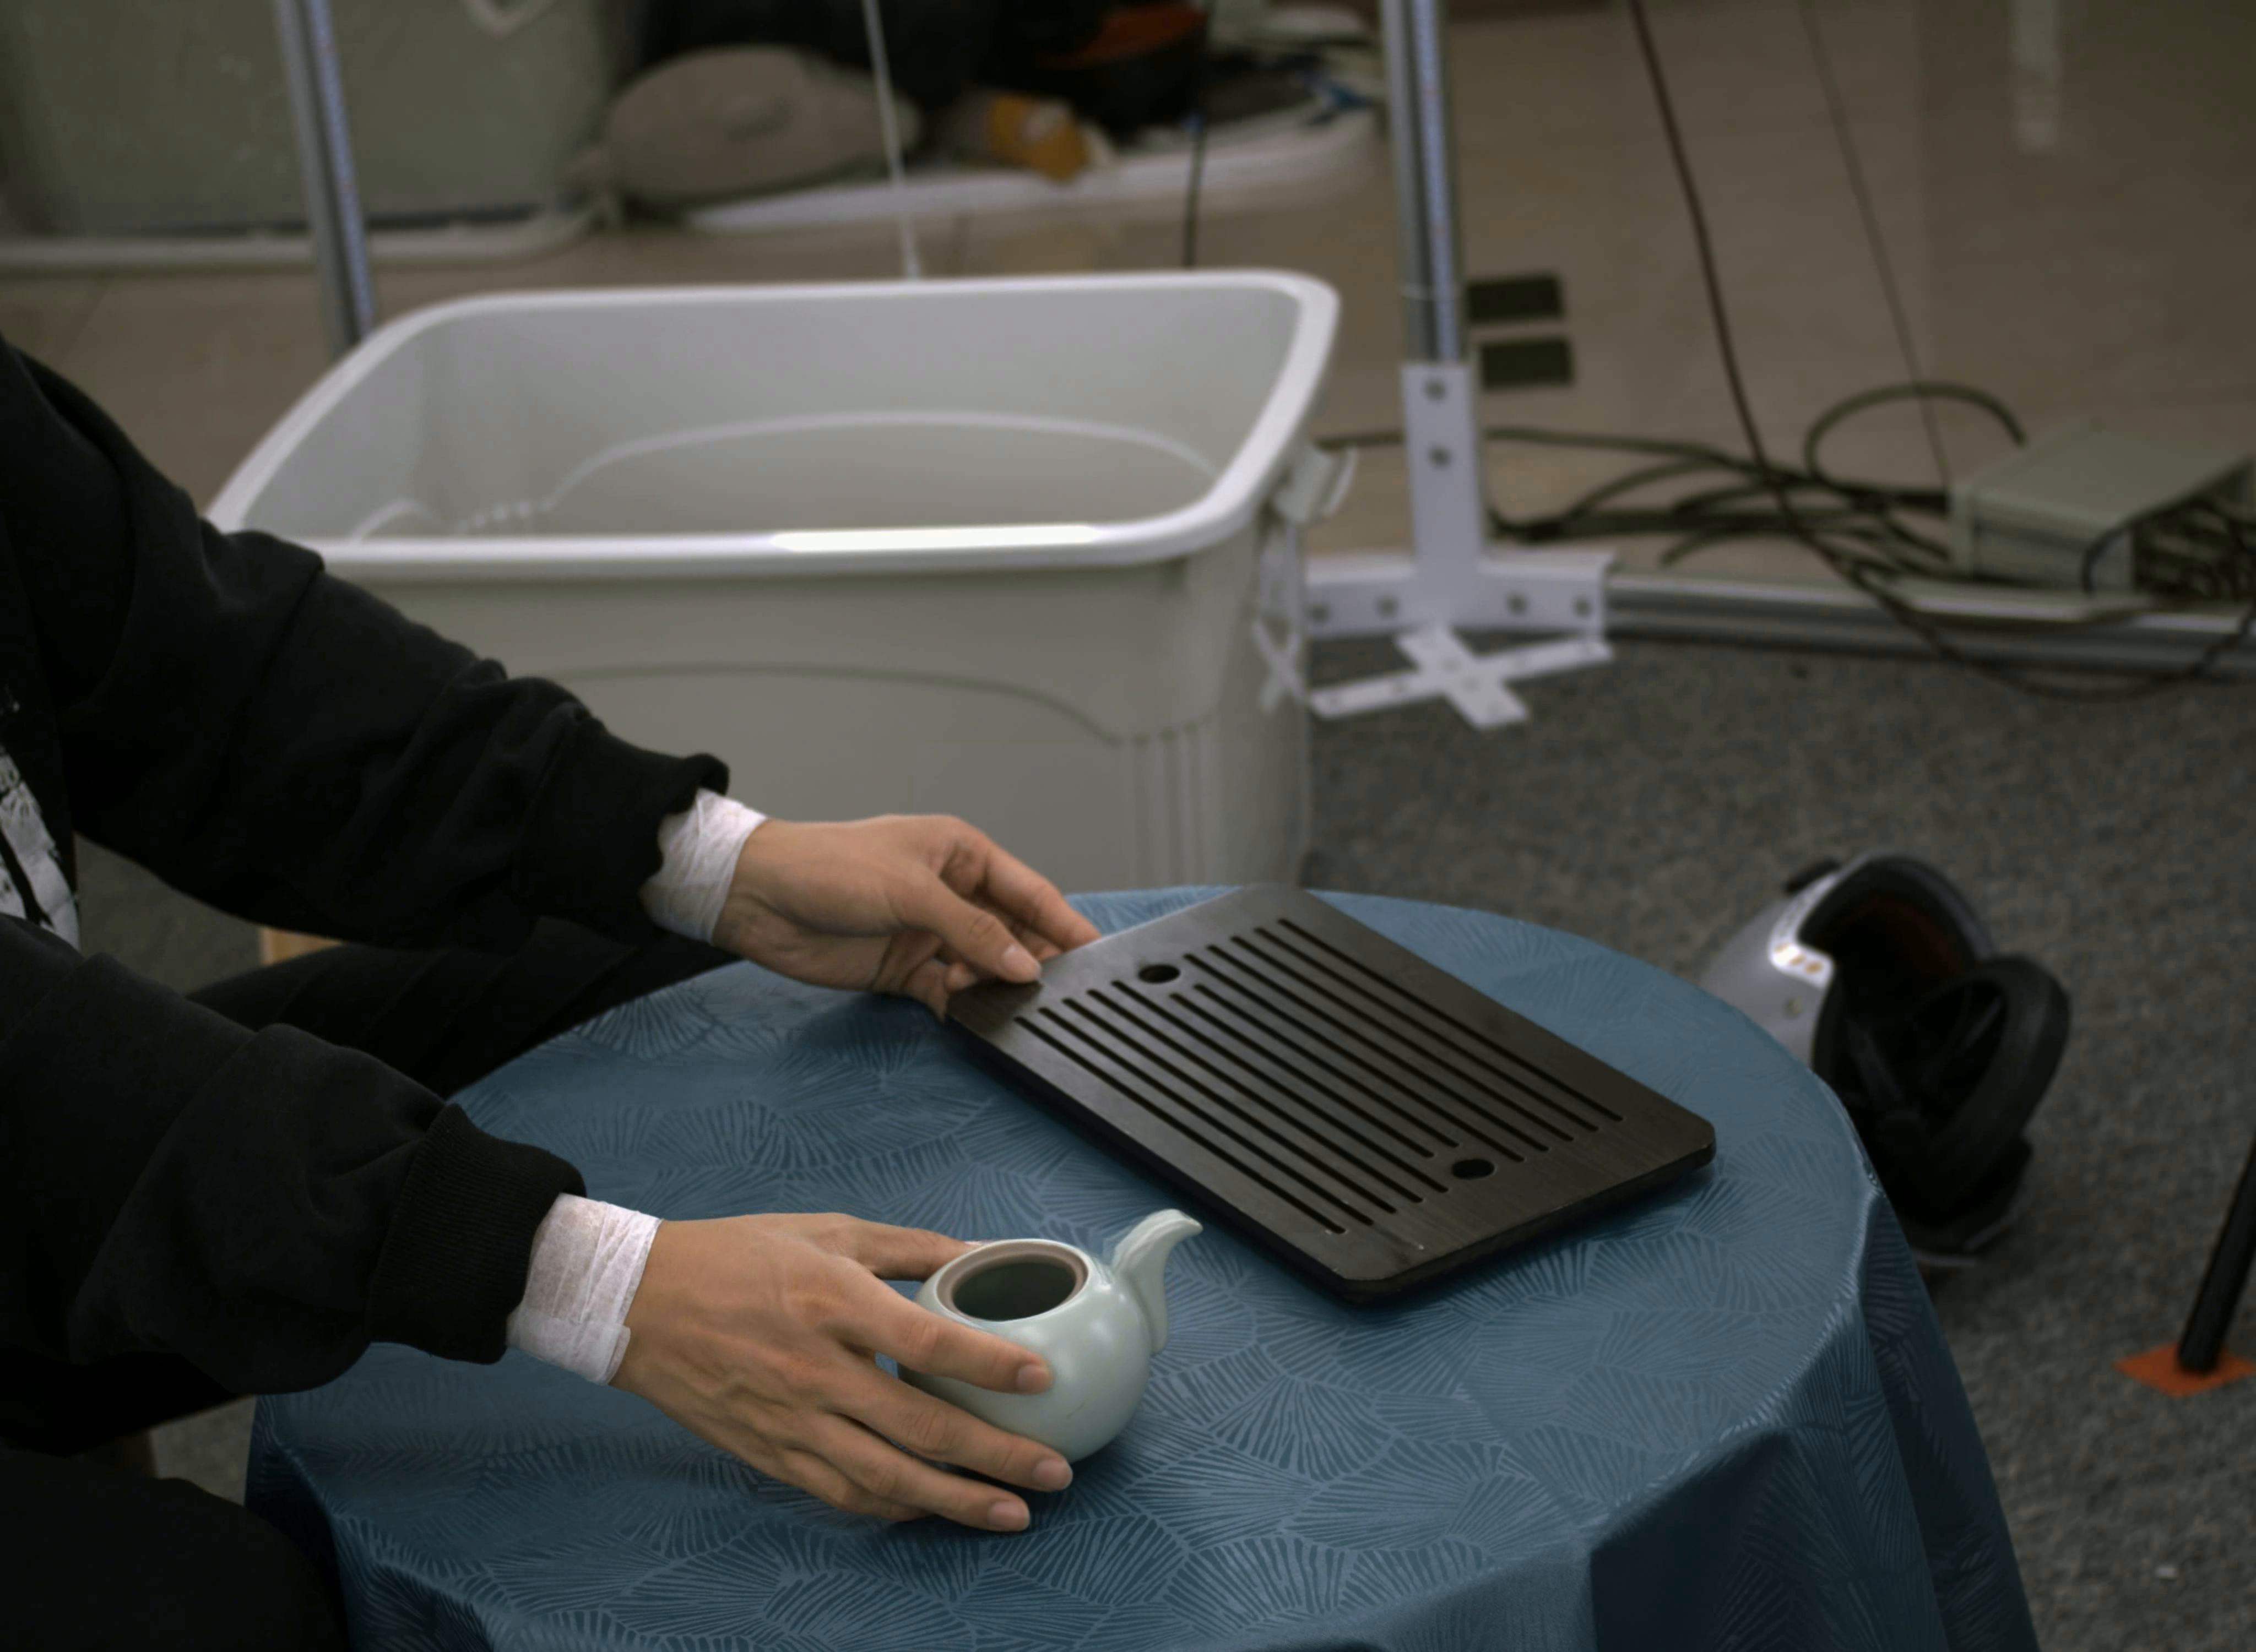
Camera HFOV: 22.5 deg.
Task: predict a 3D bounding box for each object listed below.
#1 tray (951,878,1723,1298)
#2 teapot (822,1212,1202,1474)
[{"bbox_3d":[0.076,0.098,2.193,0.169,0.019,0.302,-20,29,-27],"label":"tray"},{"bbox_3d":[-0.037,0.184,1.976,0.143,0.076,0.087,-14,27,-18],"label":"teapot"}]
